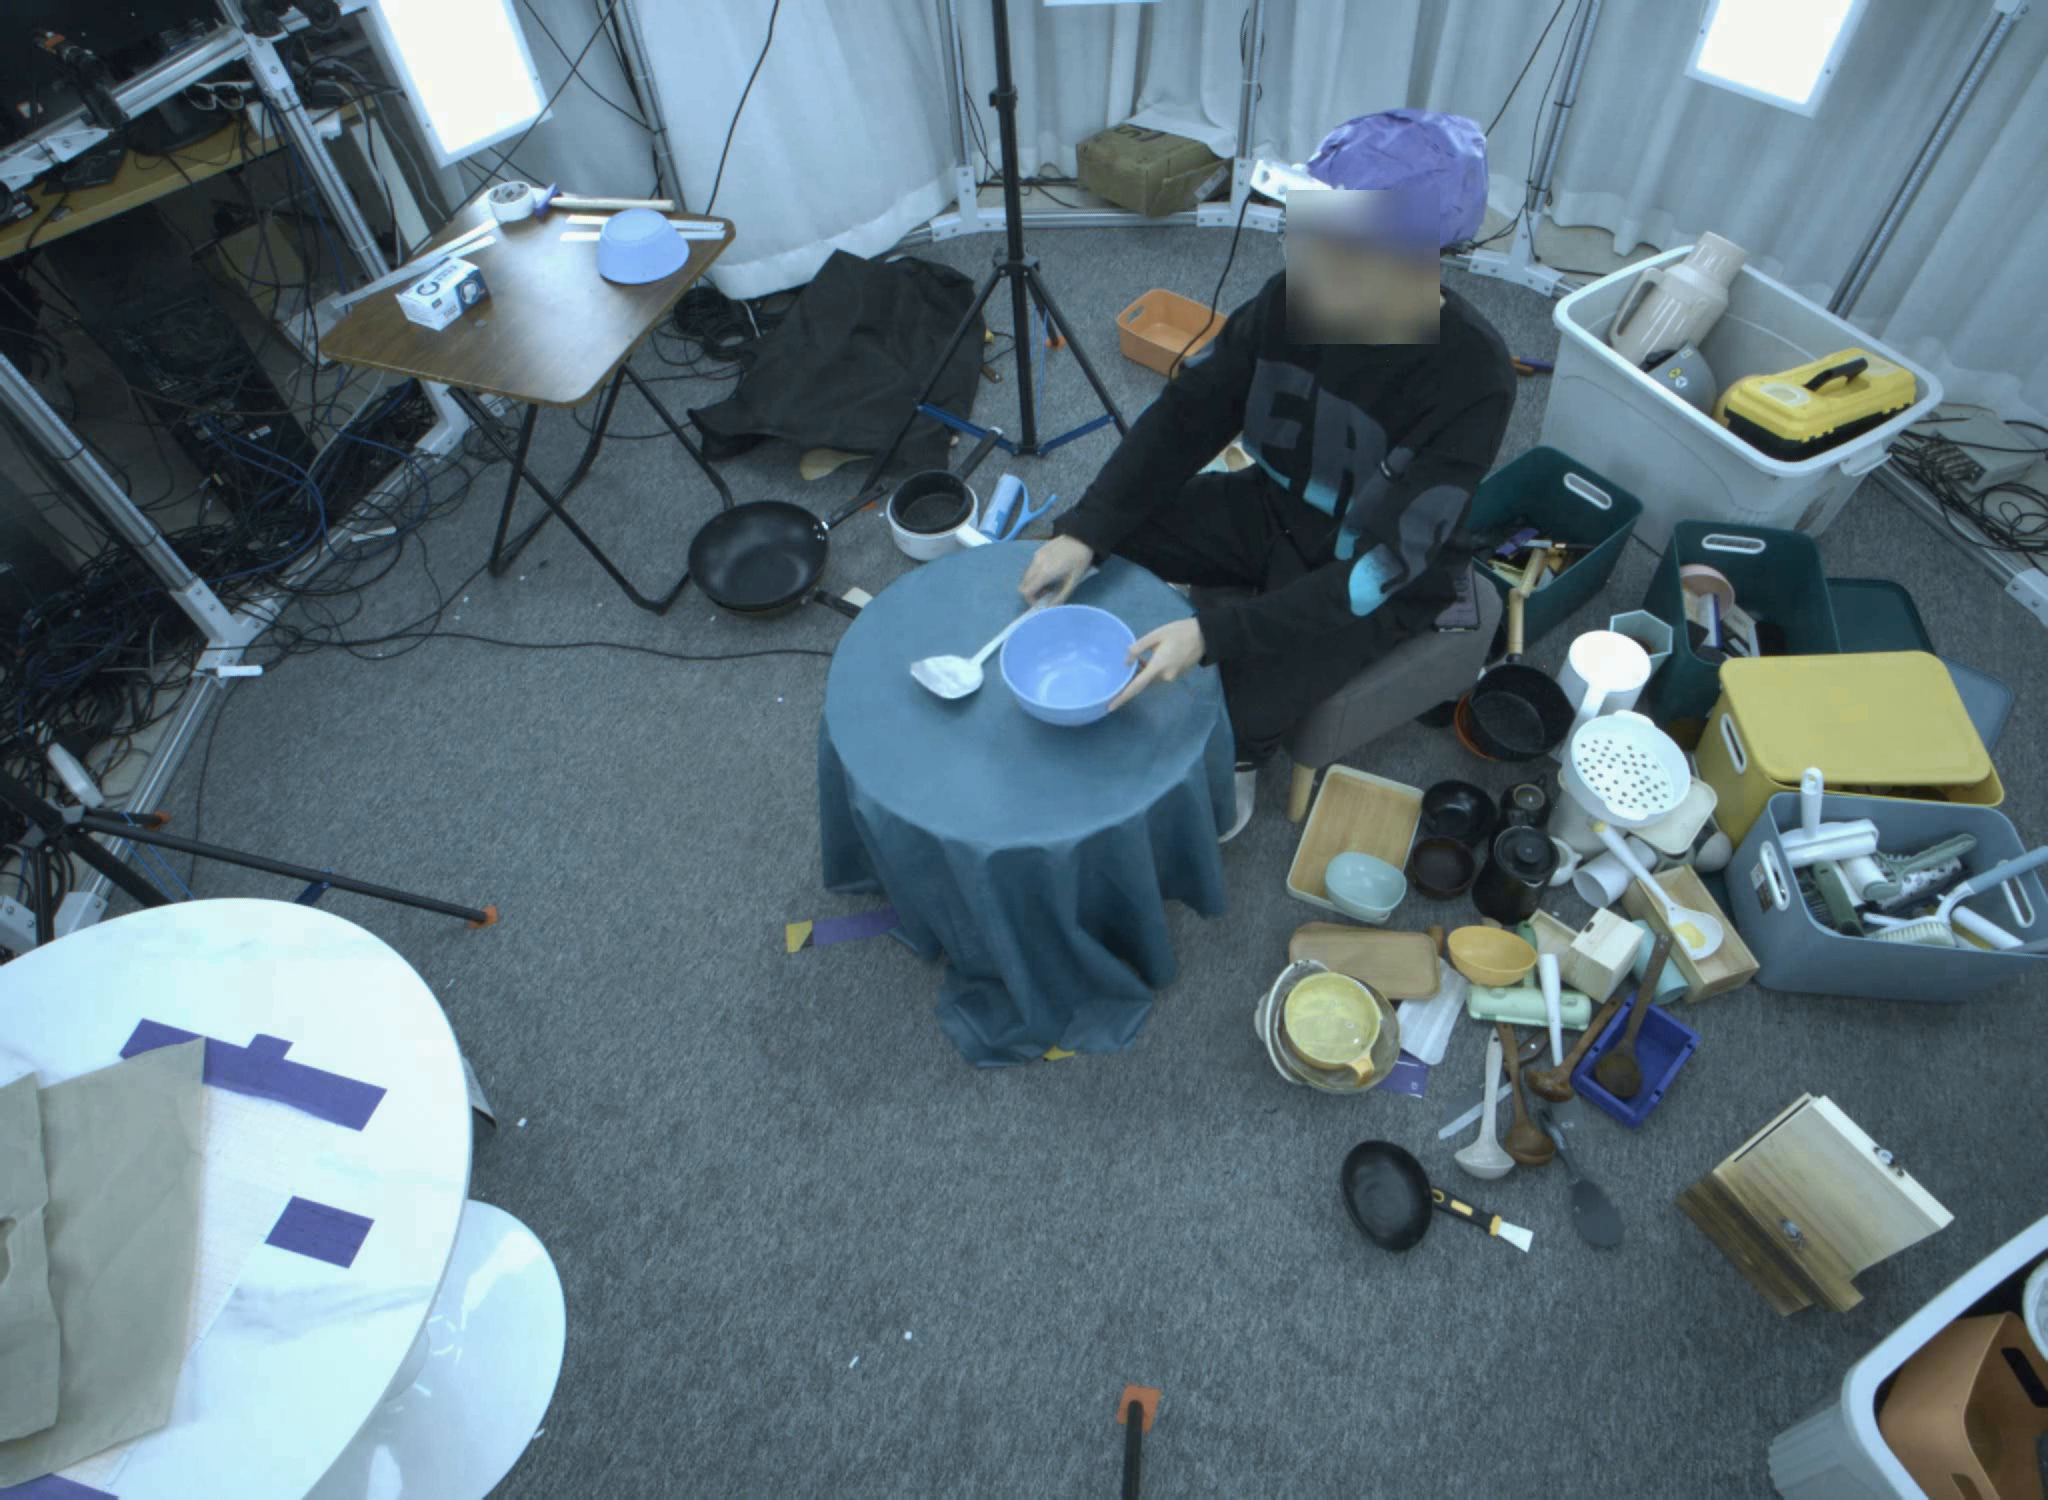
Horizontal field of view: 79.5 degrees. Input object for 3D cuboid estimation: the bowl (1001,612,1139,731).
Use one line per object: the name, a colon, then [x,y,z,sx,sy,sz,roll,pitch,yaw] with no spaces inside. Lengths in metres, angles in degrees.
bowl: [0.068,-0.099,1.783,0.196,0.096,0.194,-1,51,2]

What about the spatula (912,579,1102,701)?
spatula: [-0.014,-0.185,1.905,0.367,0.045,0.097,-39,60,-23]
